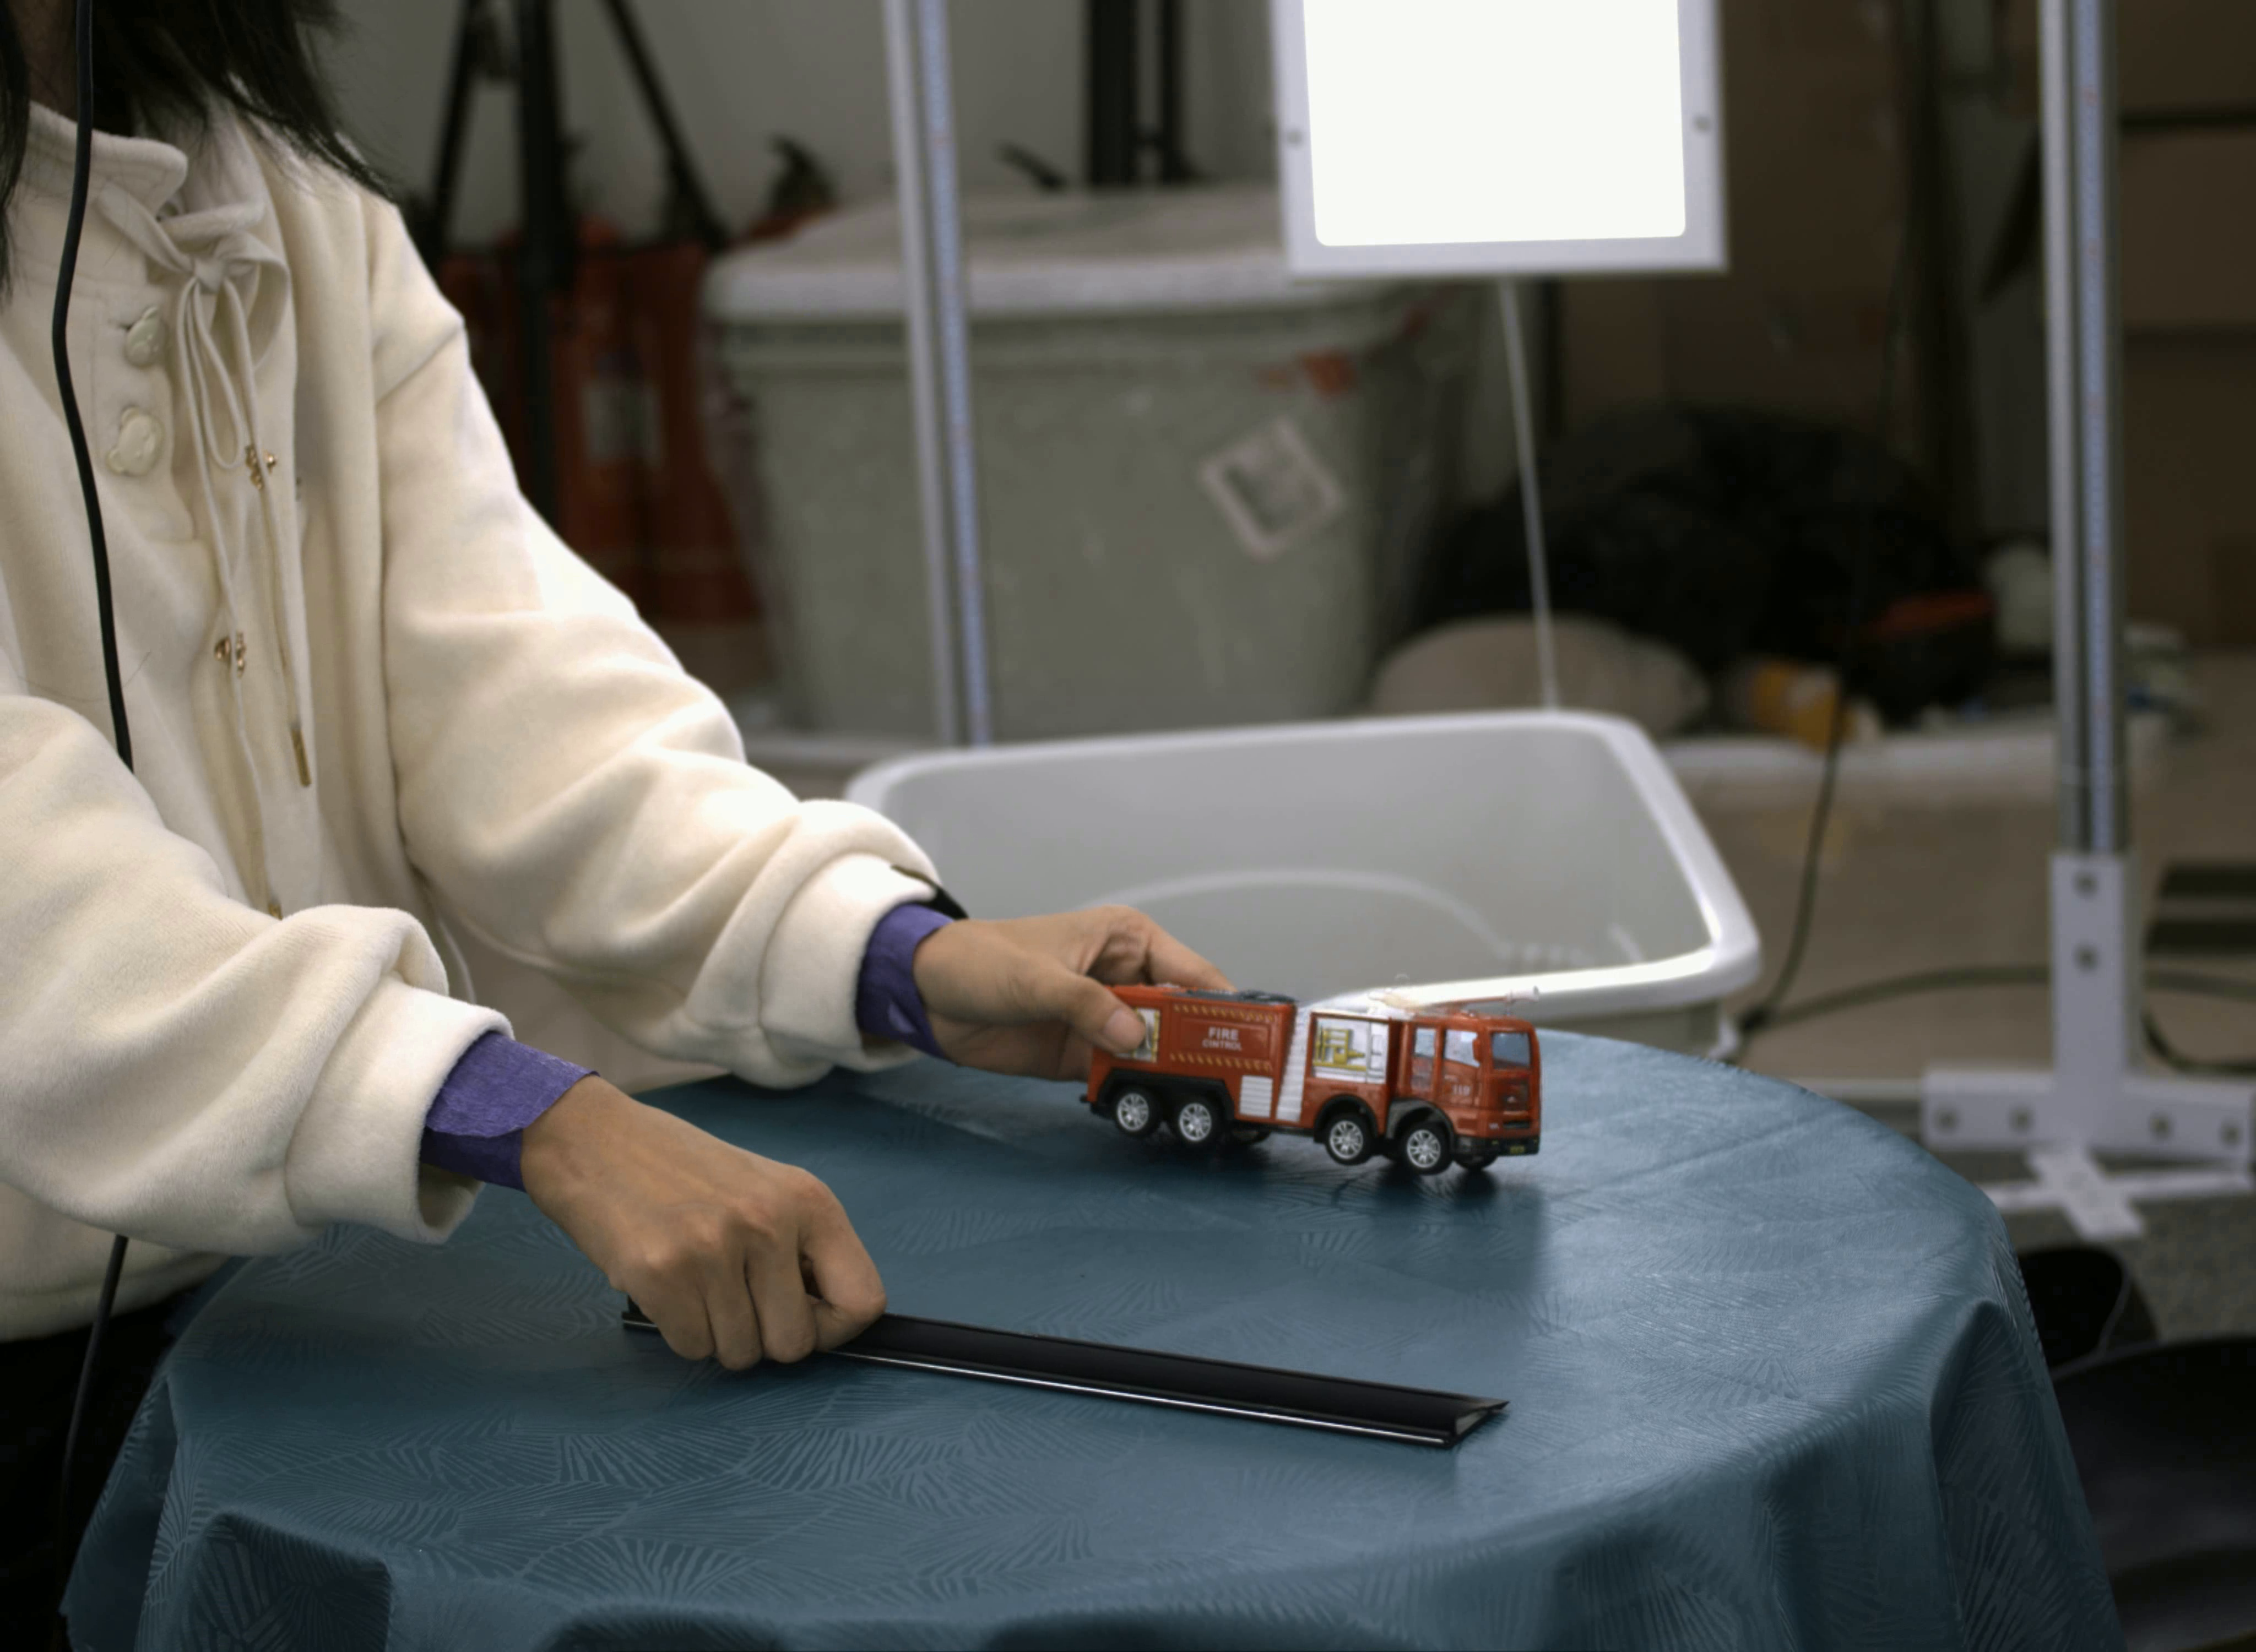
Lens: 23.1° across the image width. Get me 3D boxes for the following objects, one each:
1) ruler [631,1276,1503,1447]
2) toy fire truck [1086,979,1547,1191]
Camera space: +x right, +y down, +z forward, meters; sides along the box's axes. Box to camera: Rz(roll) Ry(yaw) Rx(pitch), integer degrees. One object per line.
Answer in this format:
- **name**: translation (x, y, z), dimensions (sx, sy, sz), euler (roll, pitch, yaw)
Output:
- **ruler**: translation (-0.024, 0.162, 1.727), dimensions (0.319, 0.017, 0.038), euler (5, 15, 35)
- **toy fire truck**: translation (0.067, 0.086, 1.902), dimensions (0.171, 0.070, 0.053), euler (3, 1, 33)
